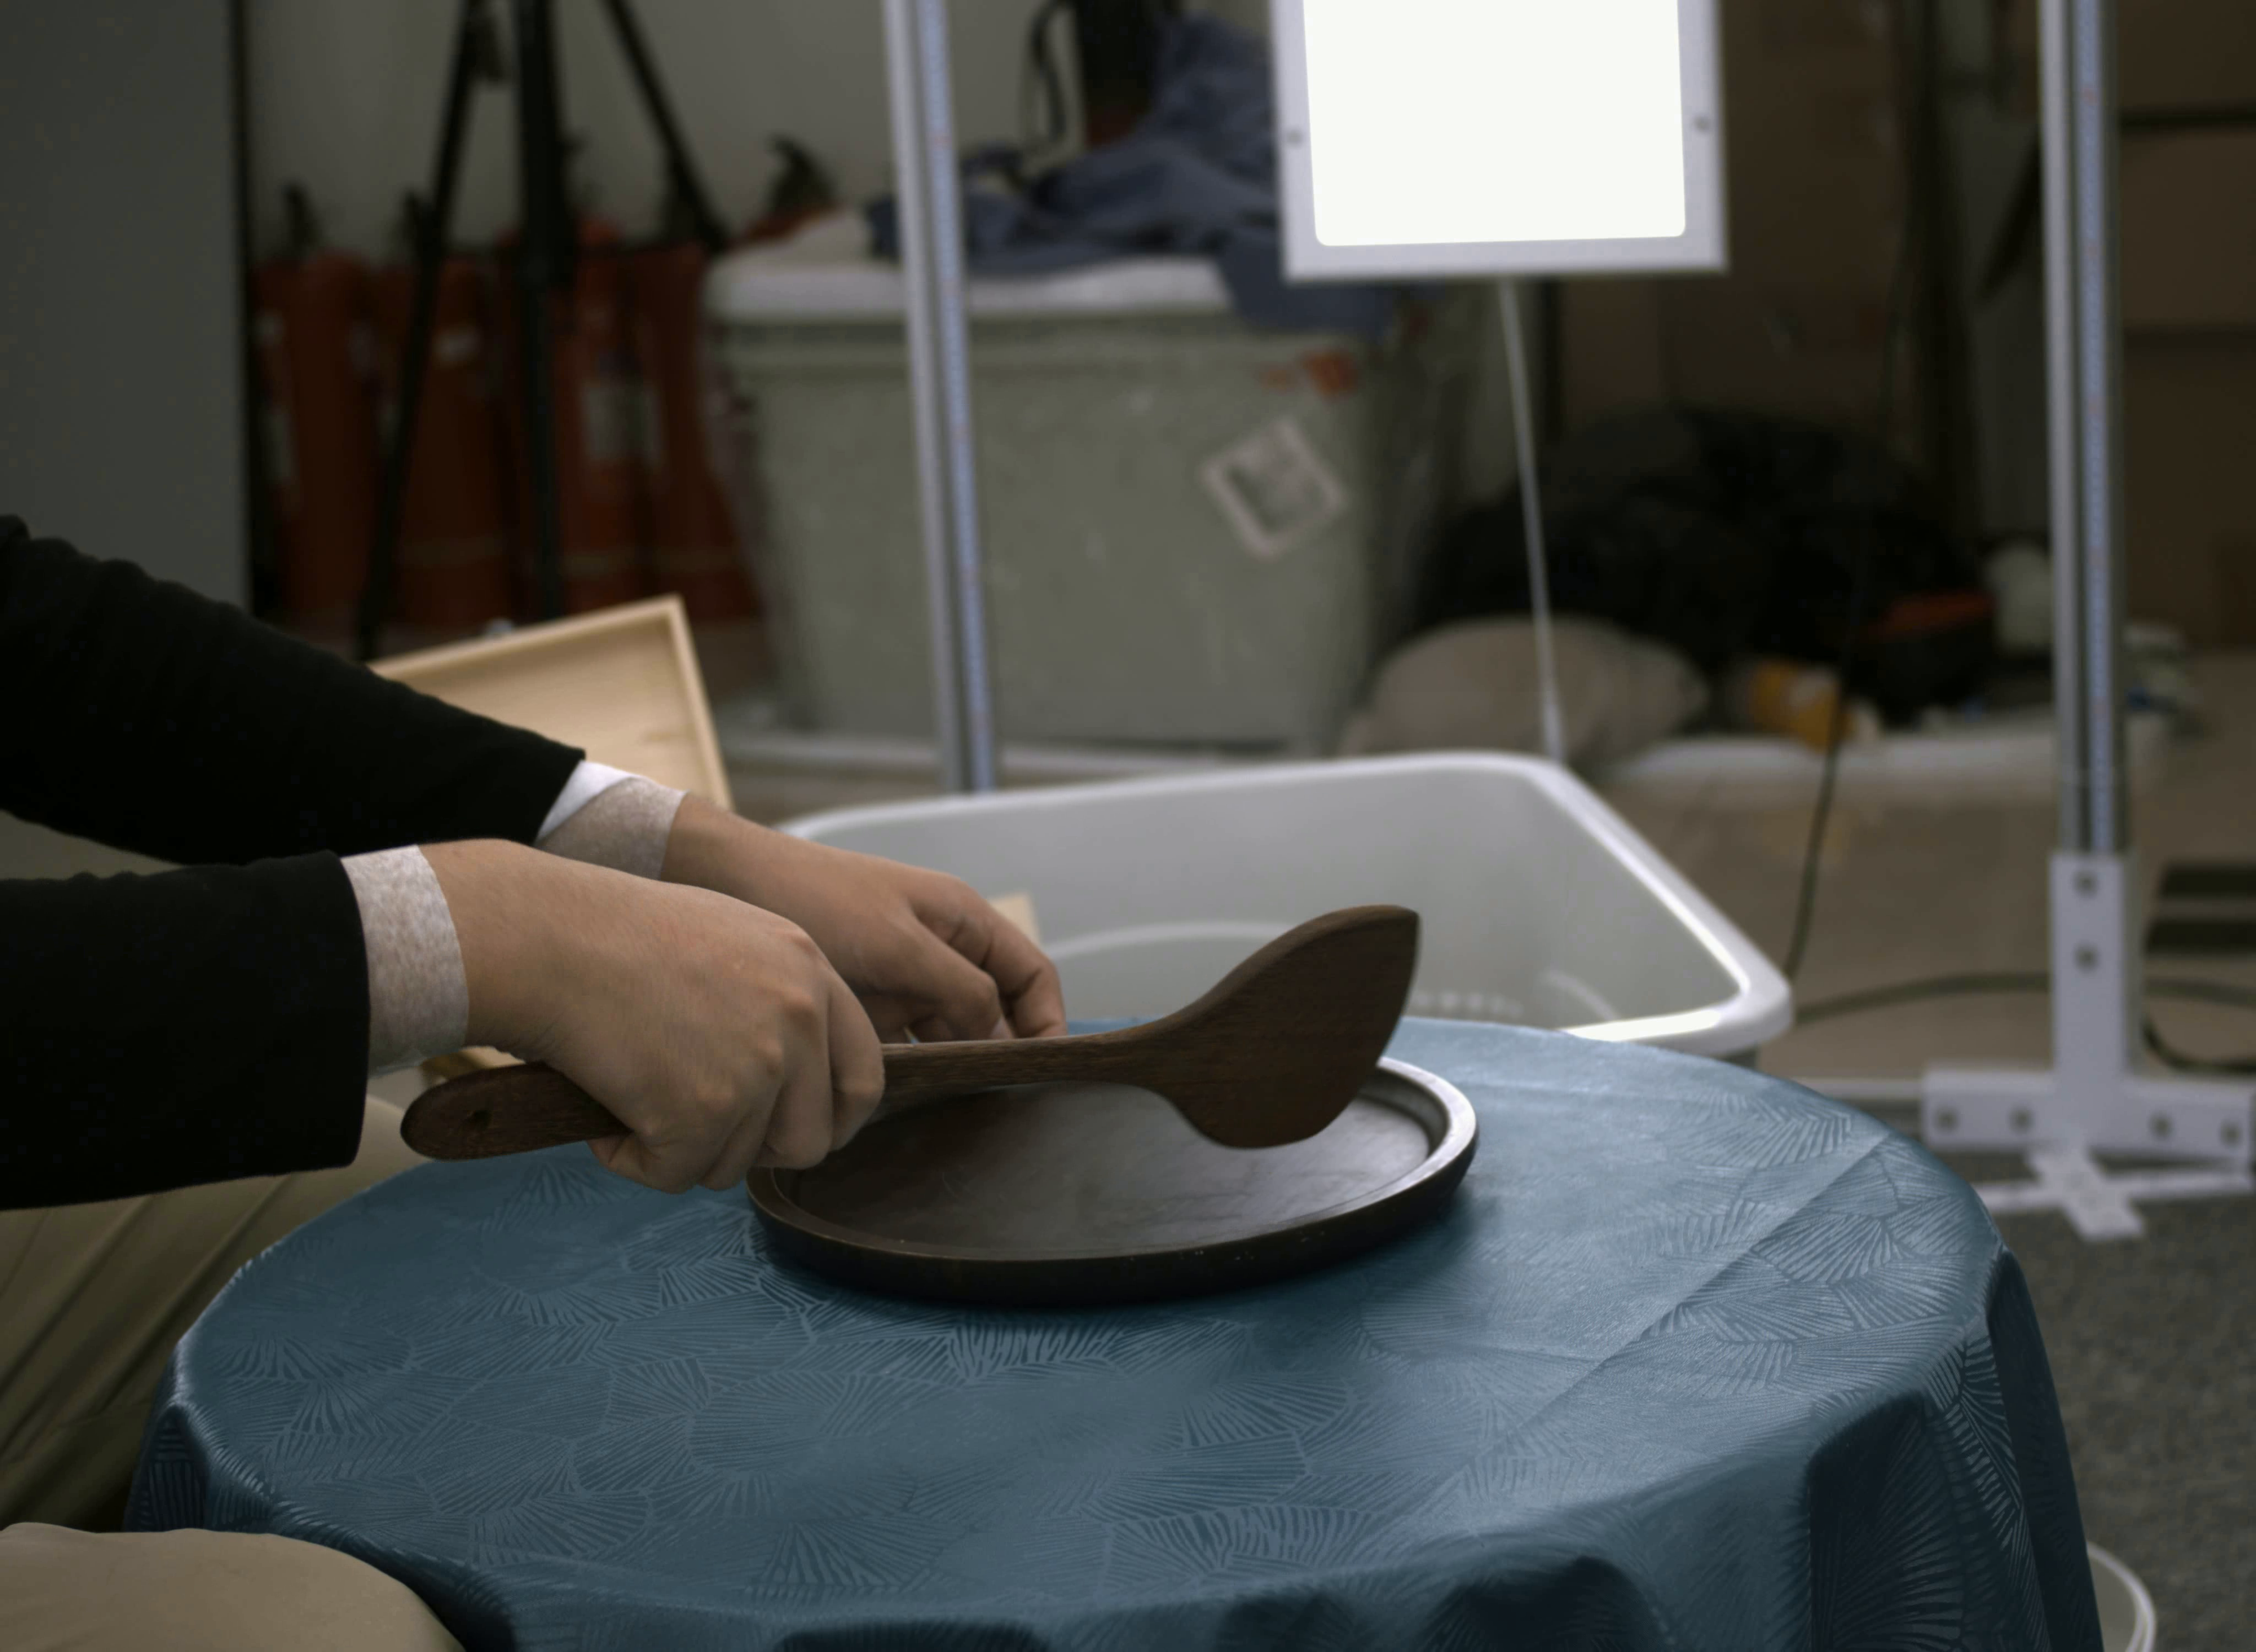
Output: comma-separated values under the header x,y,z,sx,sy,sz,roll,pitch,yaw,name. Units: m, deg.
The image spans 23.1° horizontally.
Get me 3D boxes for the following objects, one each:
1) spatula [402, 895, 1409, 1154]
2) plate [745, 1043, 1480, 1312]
x,y,z,sx,sy,sz,roll,pitch,yaw,name
-0.060,0.072,1.696,0.376,0.097,0.016,-3,34,-38,spatula
-0.005,0.117,1.887,0.254,0.029,0.254,-5,15,0,plate
